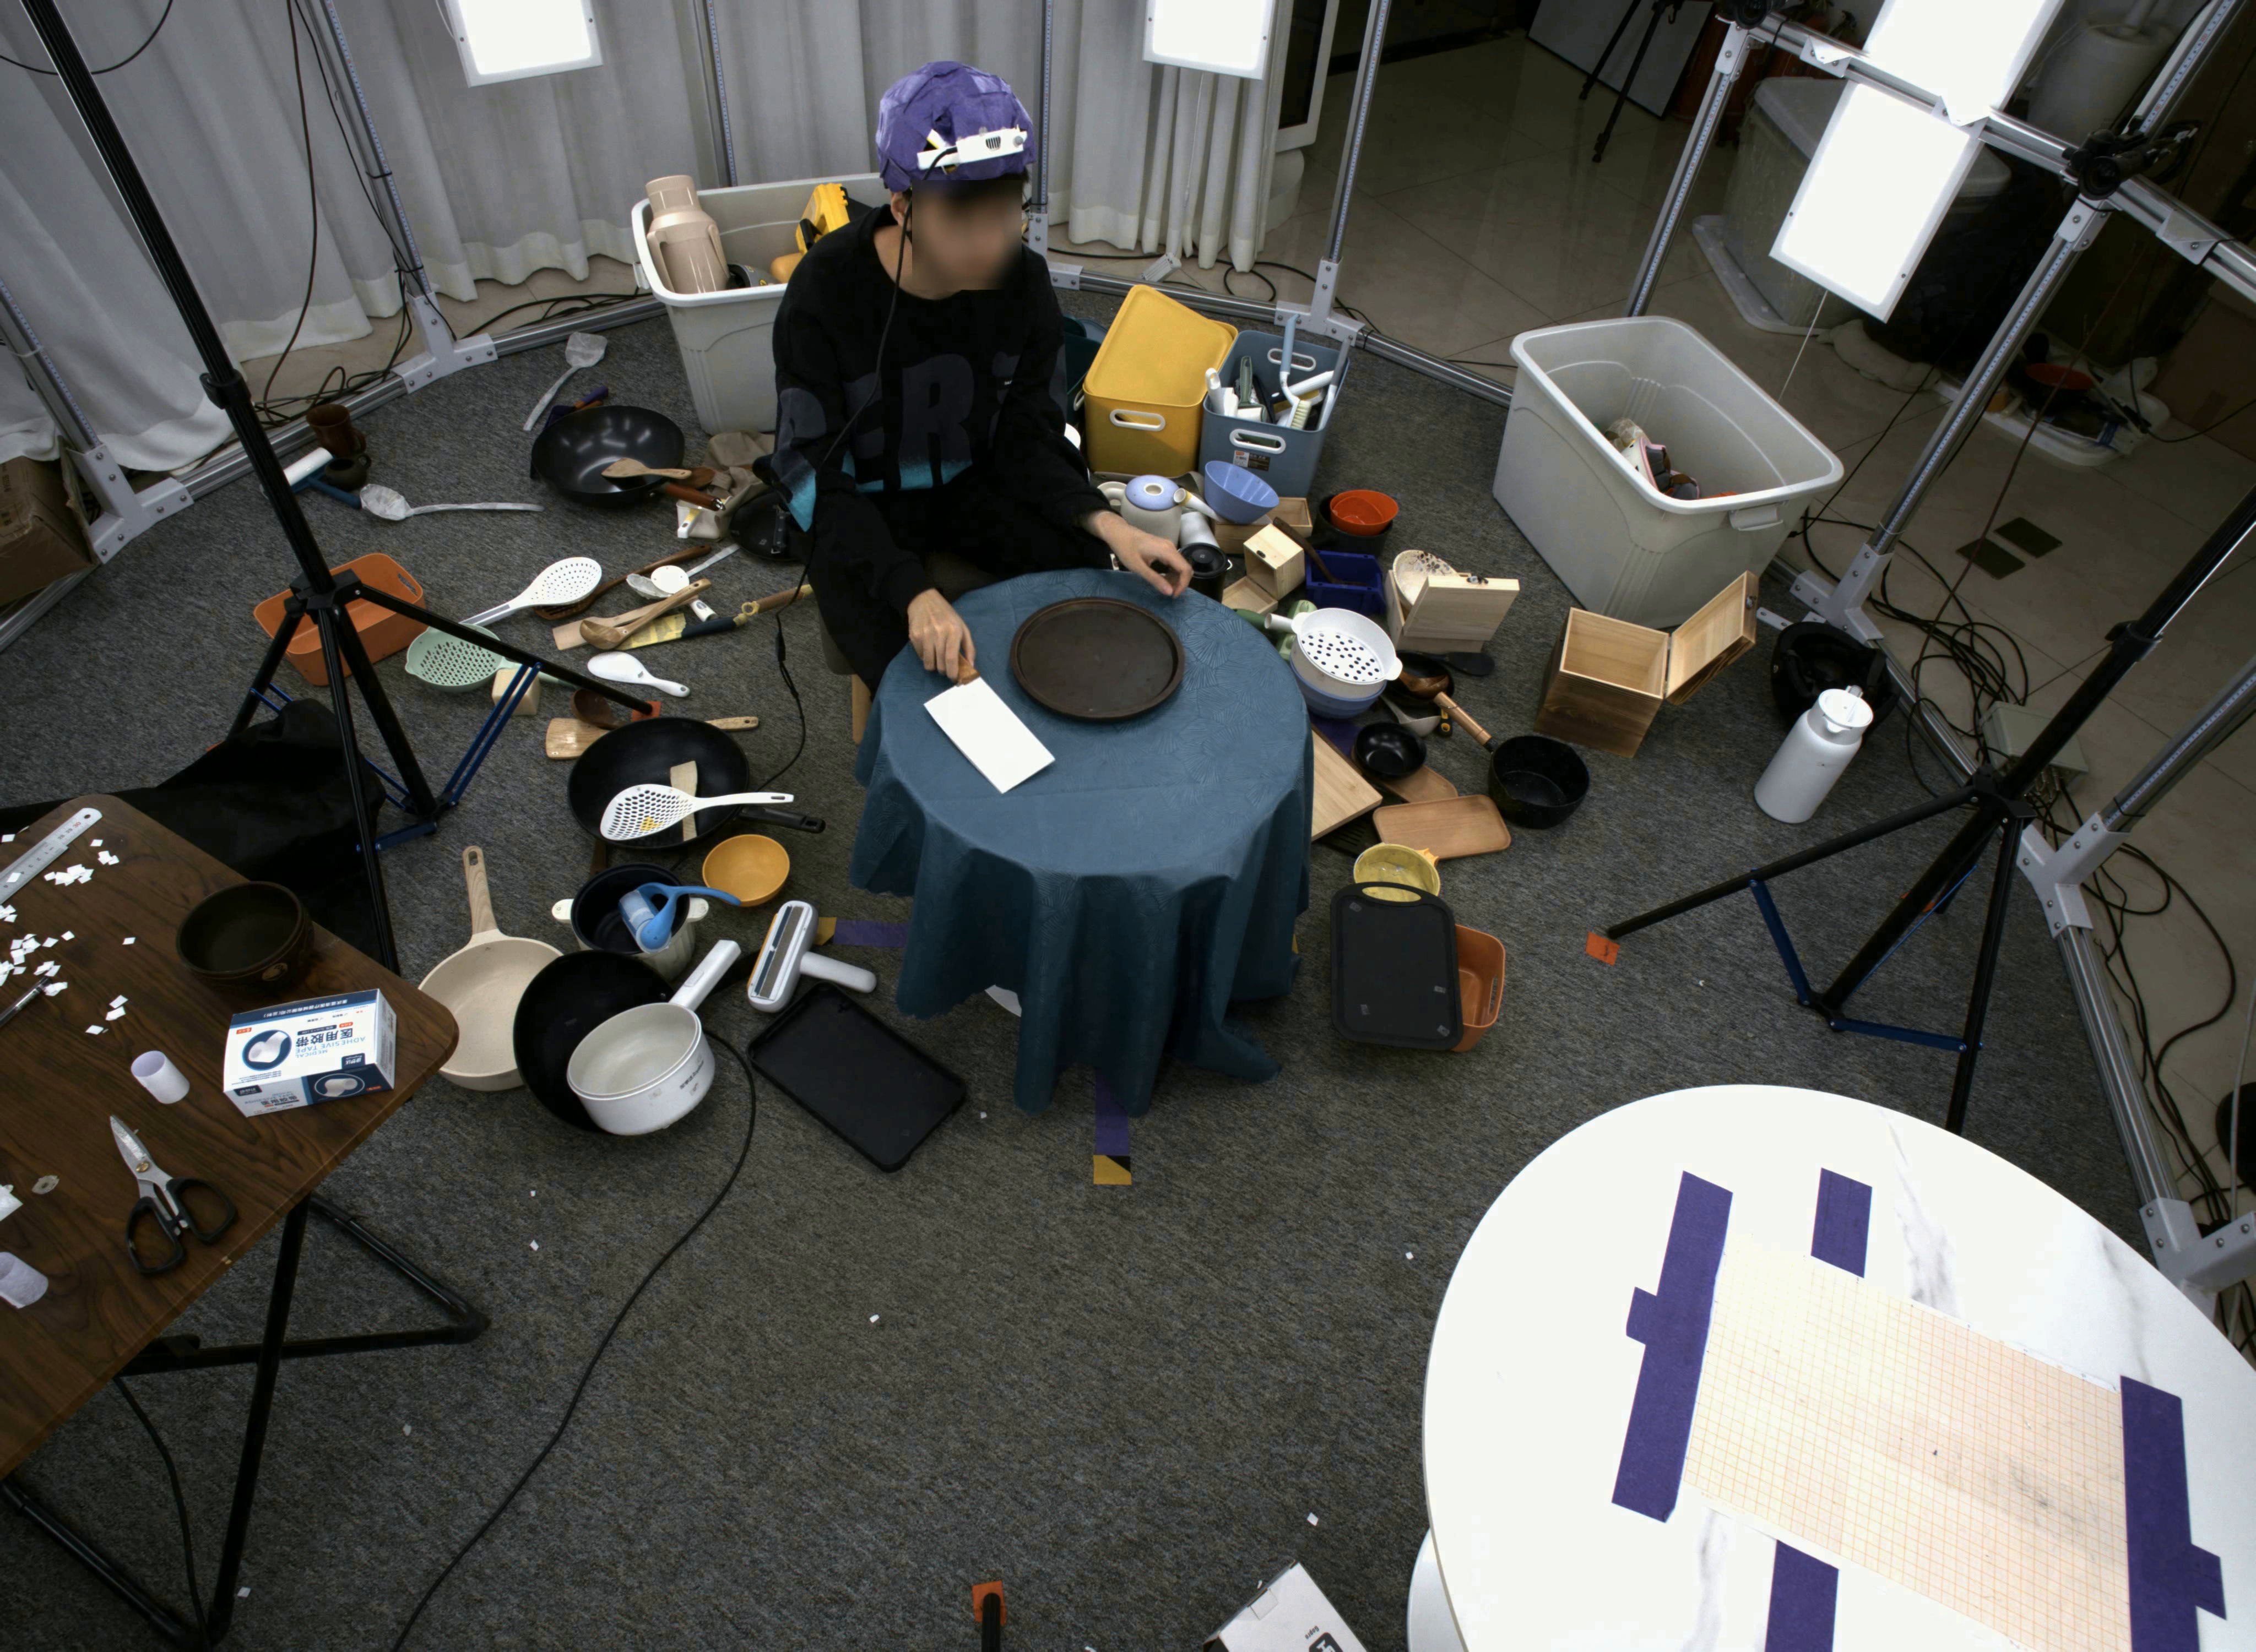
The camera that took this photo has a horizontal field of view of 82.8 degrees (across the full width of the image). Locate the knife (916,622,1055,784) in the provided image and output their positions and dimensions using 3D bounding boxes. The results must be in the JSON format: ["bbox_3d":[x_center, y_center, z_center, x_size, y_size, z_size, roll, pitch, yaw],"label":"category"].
[{"bbox_3d":[-0.221,-0.170,1.778,0.093,0.020,0.311,-34,62,-15],"label":"knife"}]

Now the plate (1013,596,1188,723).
[{"bbox_3d":[-0.039,-0.242,1.860,0.254,0.028,0.261,3,48,-3],"label":"plate"}]
